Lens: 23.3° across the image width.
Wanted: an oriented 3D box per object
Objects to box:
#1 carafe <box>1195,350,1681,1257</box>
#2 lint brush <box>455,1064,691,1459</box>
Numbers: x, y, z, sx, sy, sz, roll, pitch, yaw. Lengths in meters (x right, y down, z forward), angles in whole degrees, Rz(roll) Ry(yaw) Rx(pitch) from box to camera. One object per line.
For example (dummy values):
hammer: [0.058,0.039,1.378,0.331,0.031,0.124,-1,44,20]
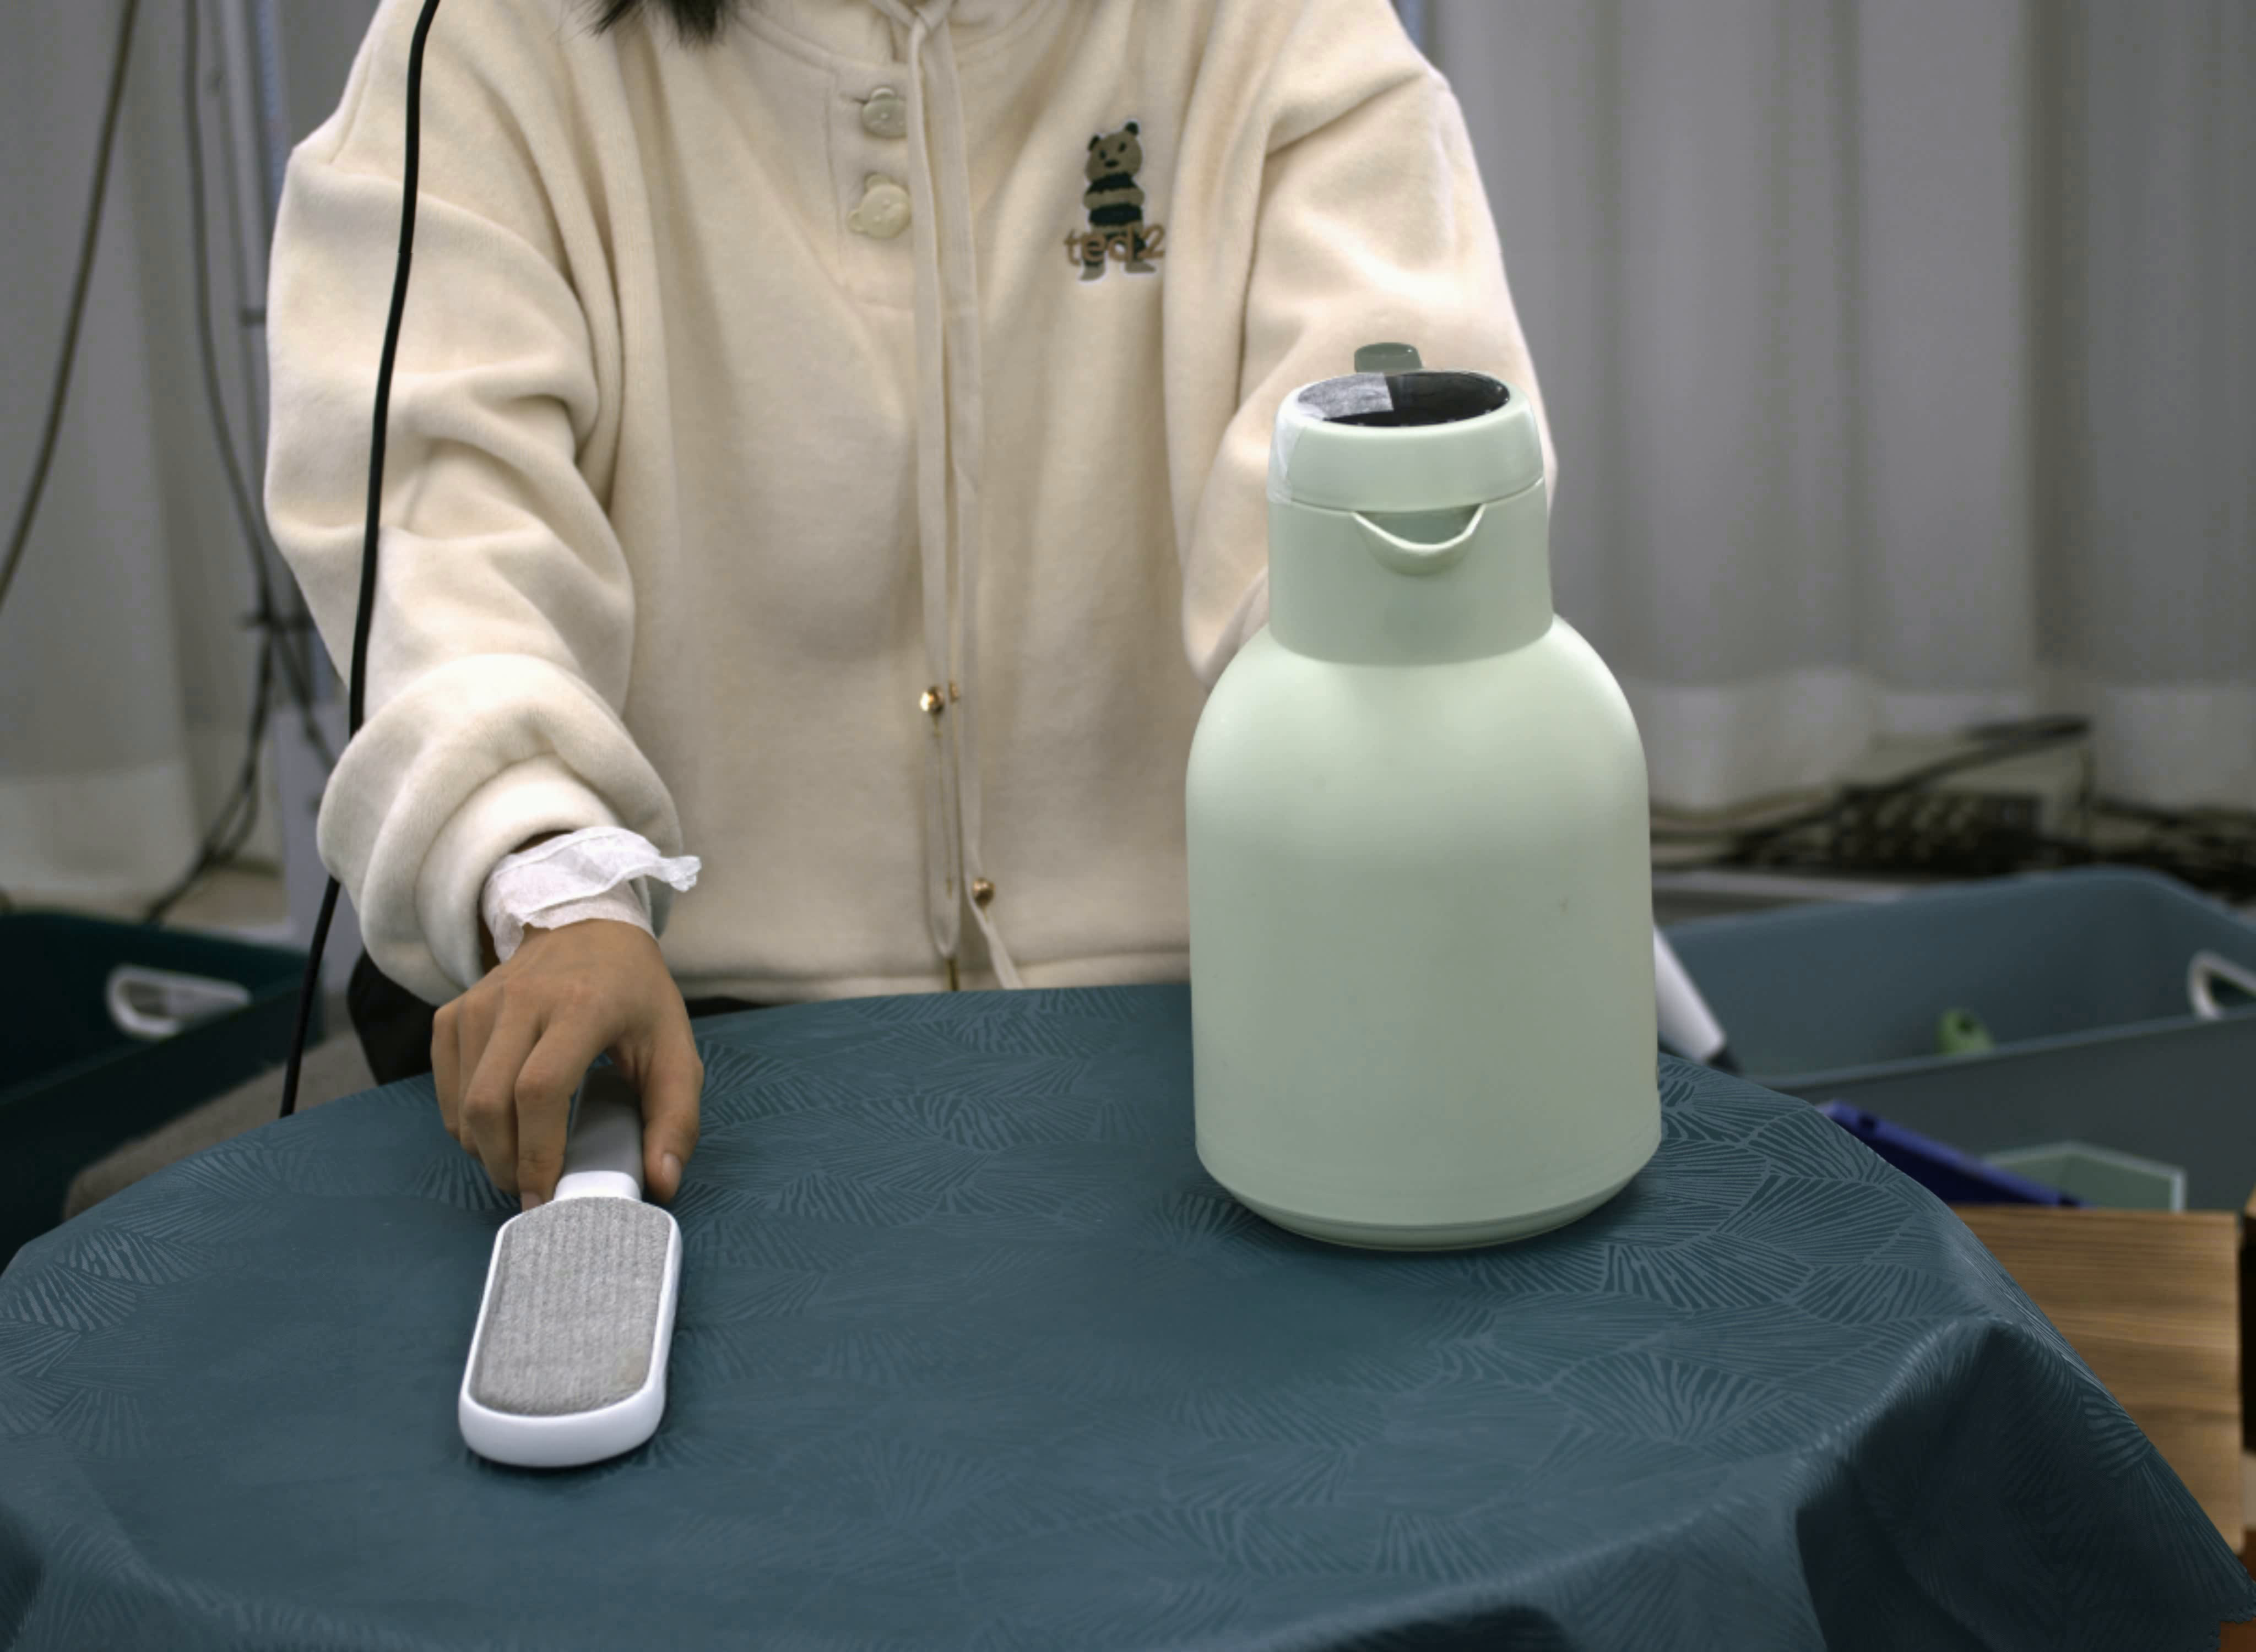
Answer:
carafe: [0.090,-0.012,1.677,0.144,0.256,0.188,-5,14,-1]
lint brush: [-0.161,0.127,1.646,0.060,0.021,0.311,-4,16,0]
